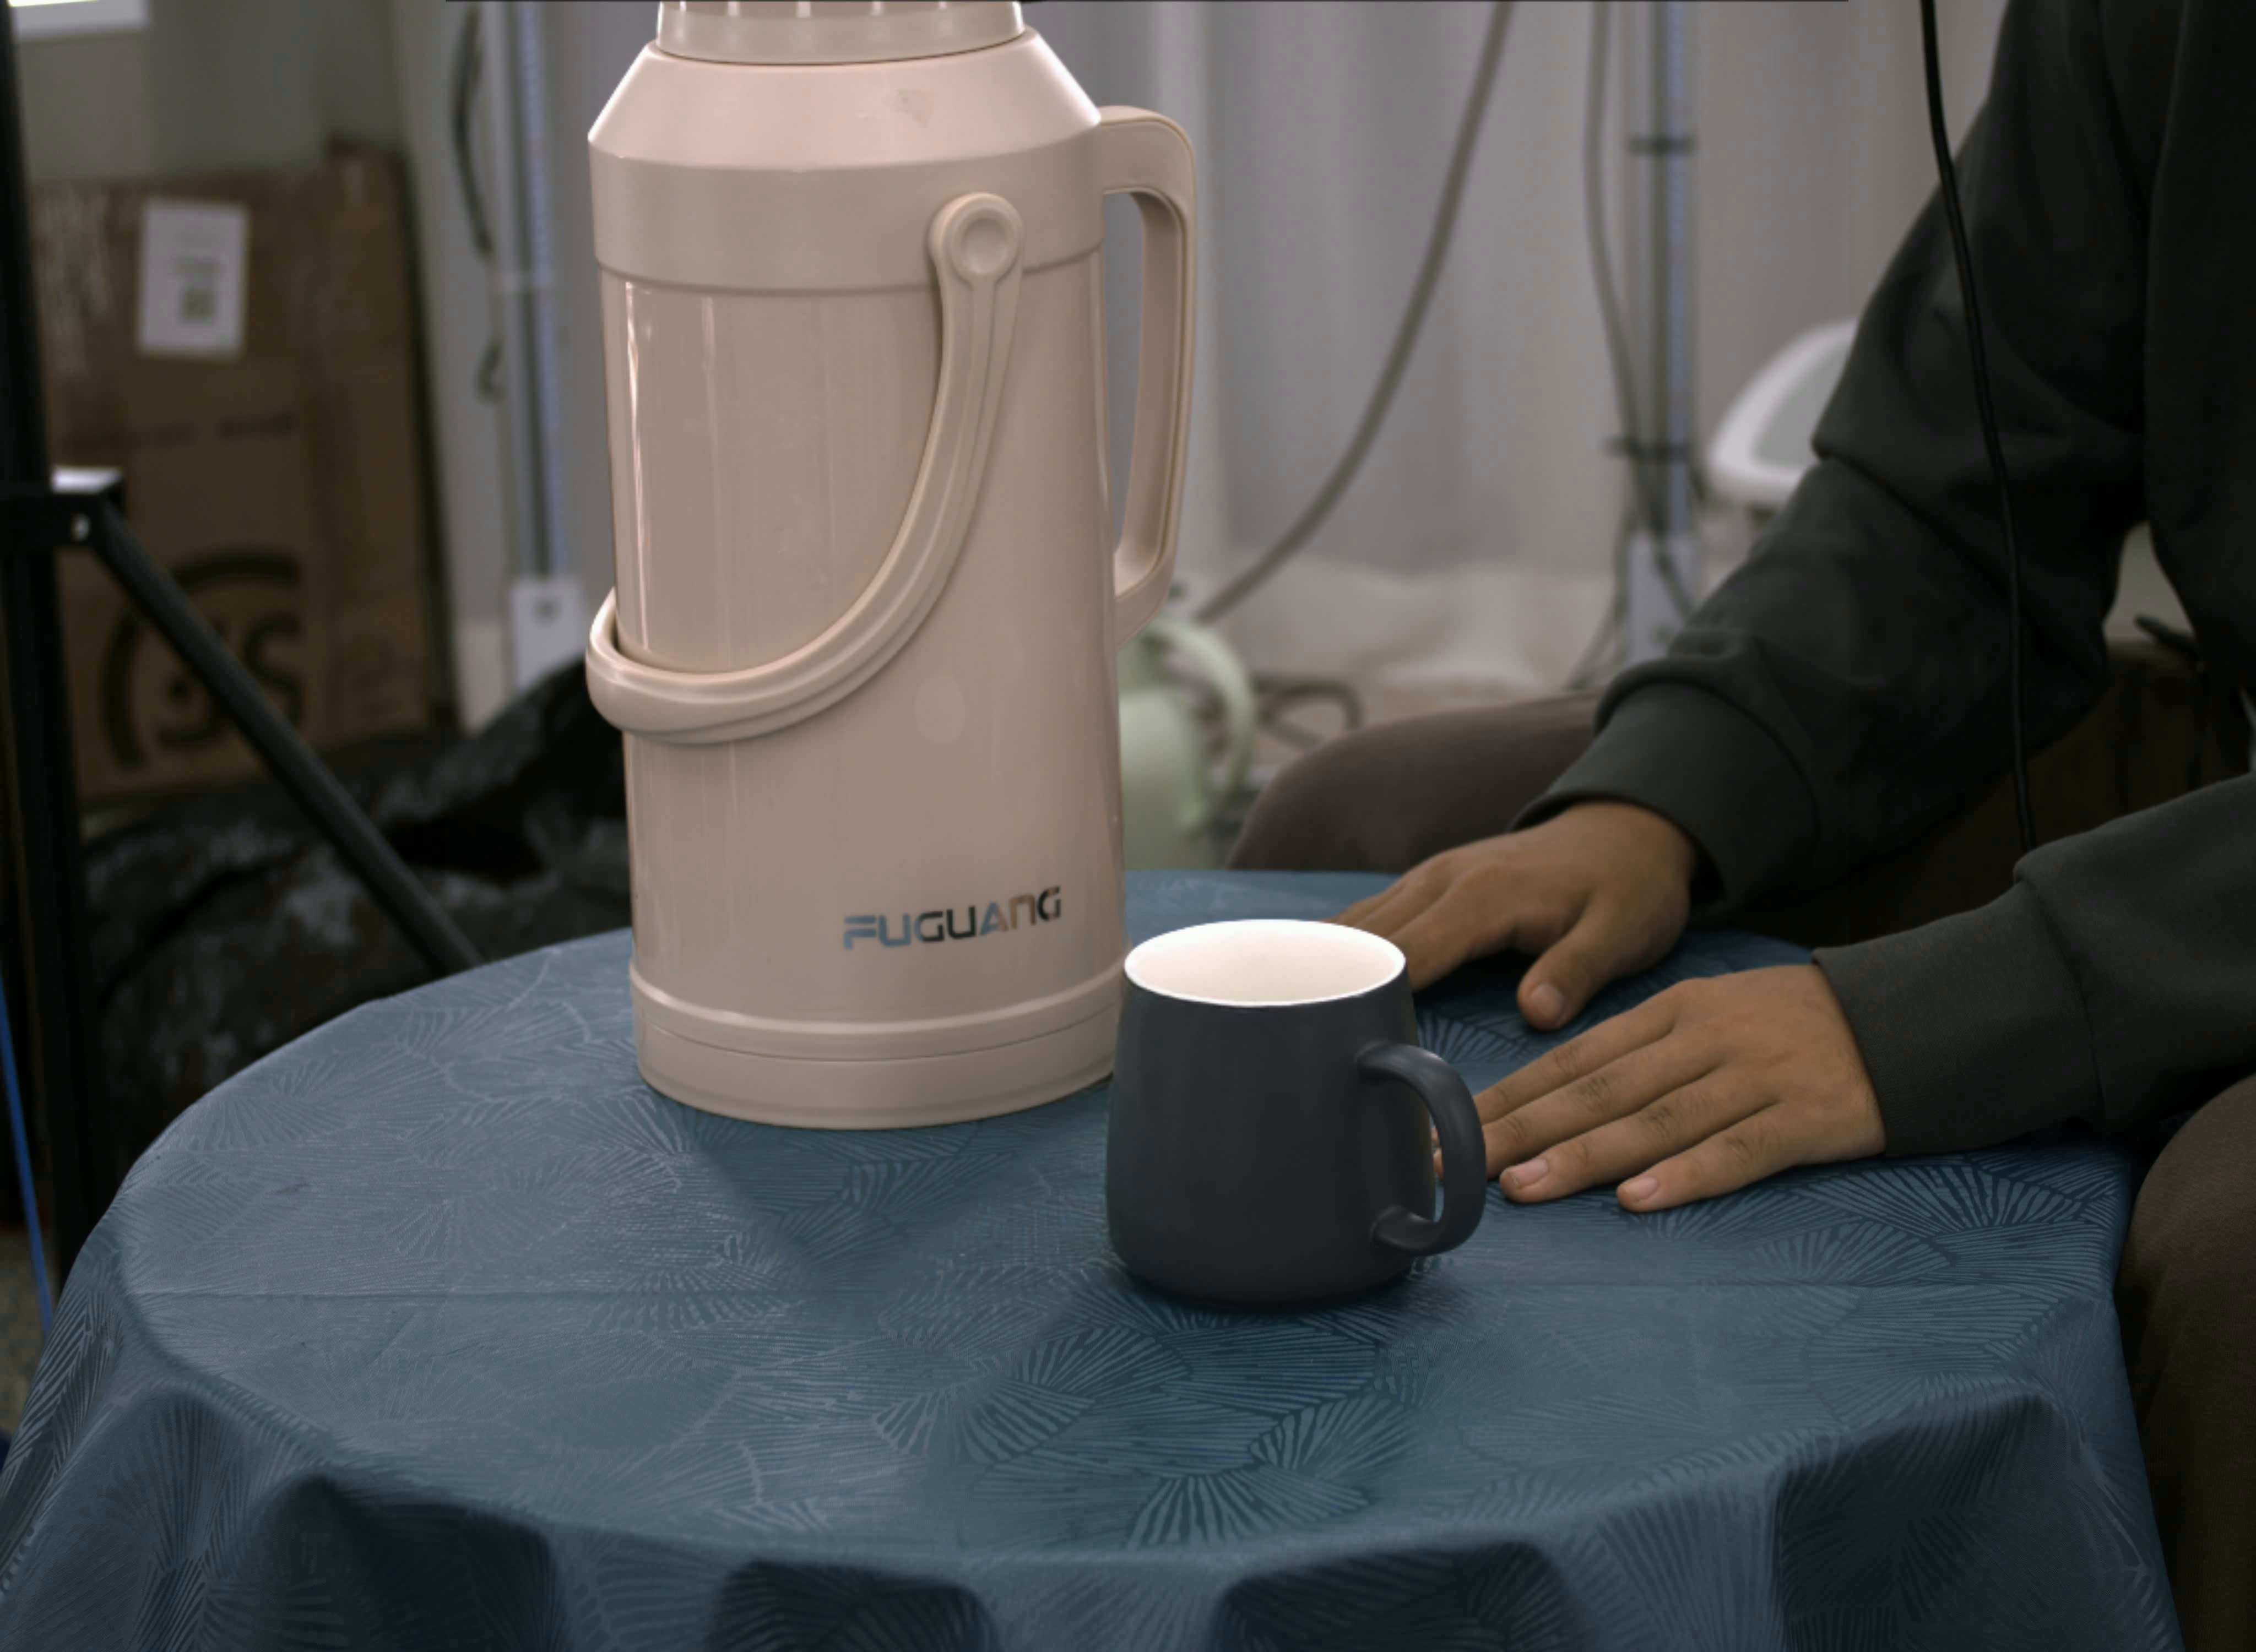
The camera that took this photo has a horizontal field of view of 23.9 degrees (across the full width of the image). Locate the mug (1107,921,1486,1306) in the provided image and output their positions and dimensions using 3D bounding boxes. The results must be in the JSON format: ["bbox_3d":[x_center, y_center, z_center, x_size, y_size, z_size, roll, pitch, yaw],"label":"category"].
[{"bbox_3d":[0.051,0.083,1.471,0.091,0.090,0.126,-15,20,-40],"label":"mug"}]

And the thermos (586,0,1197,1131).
[{"bbox_3d":[-0.070,-0.122,1.652,0.202,0.406,0.179,-10,17,-27],"label":"thermos"}]
